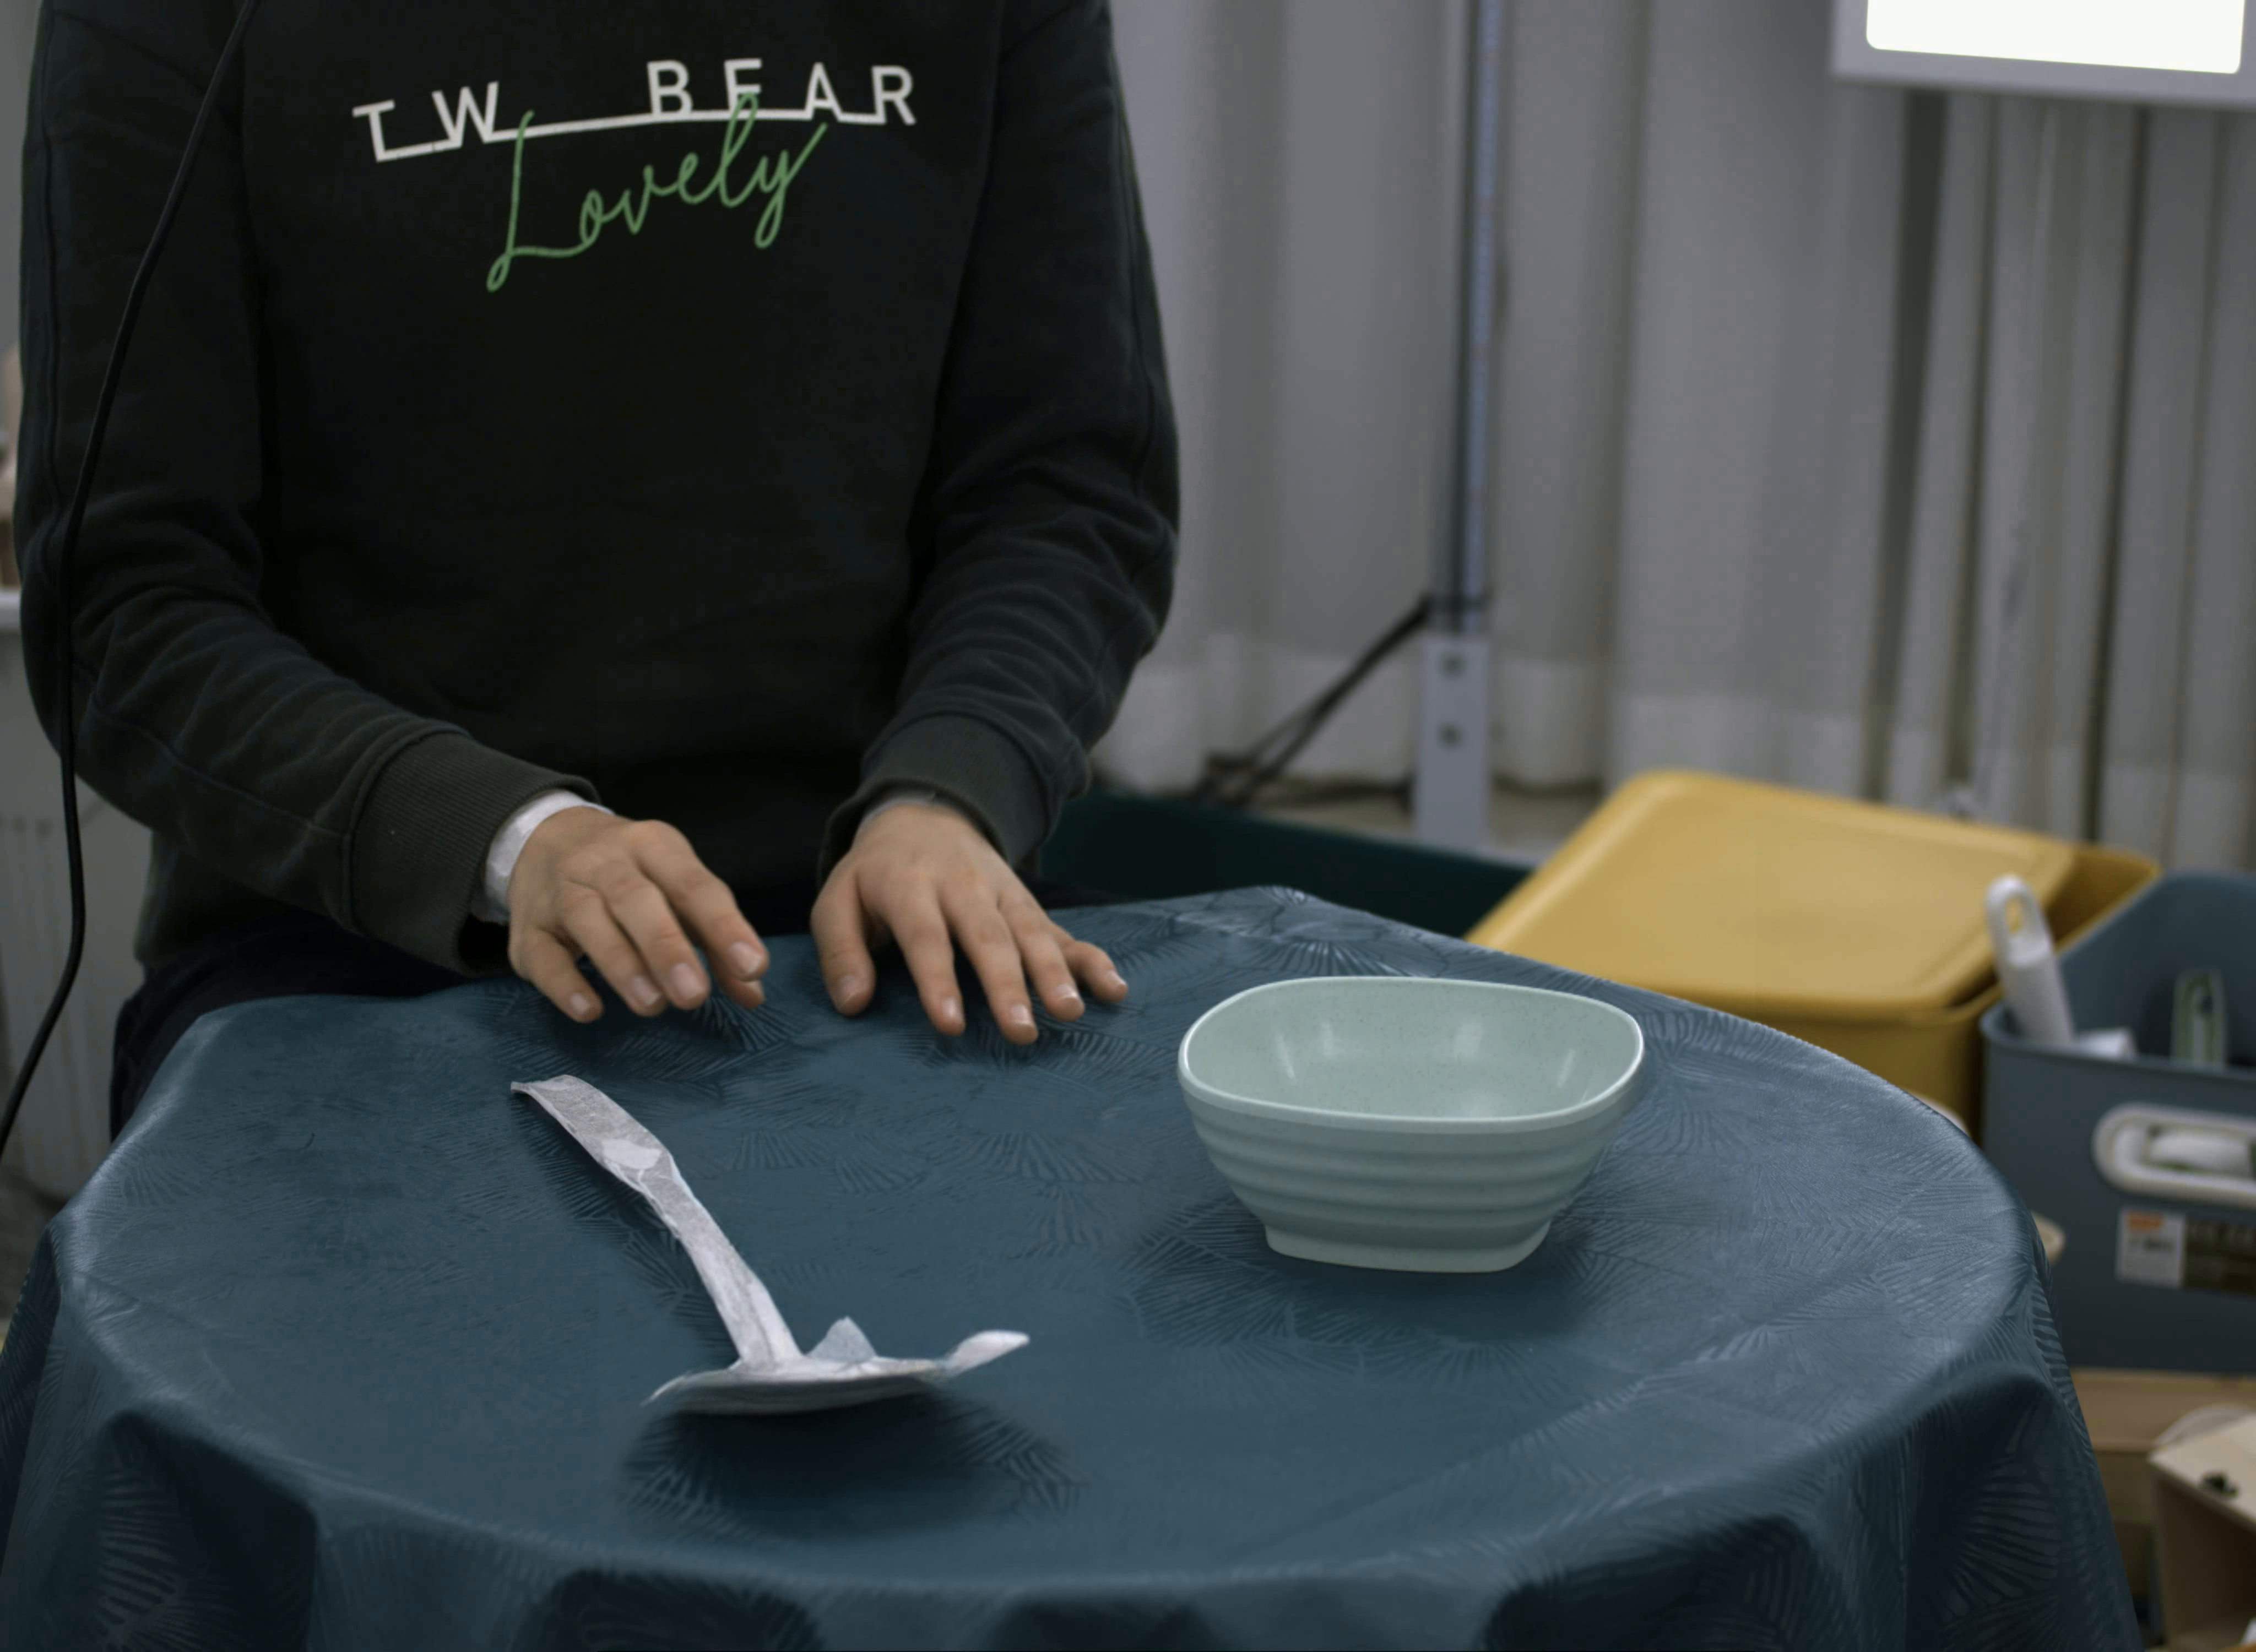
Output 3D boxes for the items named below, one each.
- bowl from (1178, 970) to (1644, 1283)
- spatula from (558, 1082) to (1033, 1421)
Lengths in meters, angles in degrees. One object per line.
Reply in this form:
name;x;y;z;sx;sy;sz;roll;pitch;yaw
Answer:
bowl;0.084;0.094;1.593;0.151;0.059;0.150;3;18;0
spatula;-0.123;0.115;1.542;0.099;0.045;0.361;-7;18;-18
